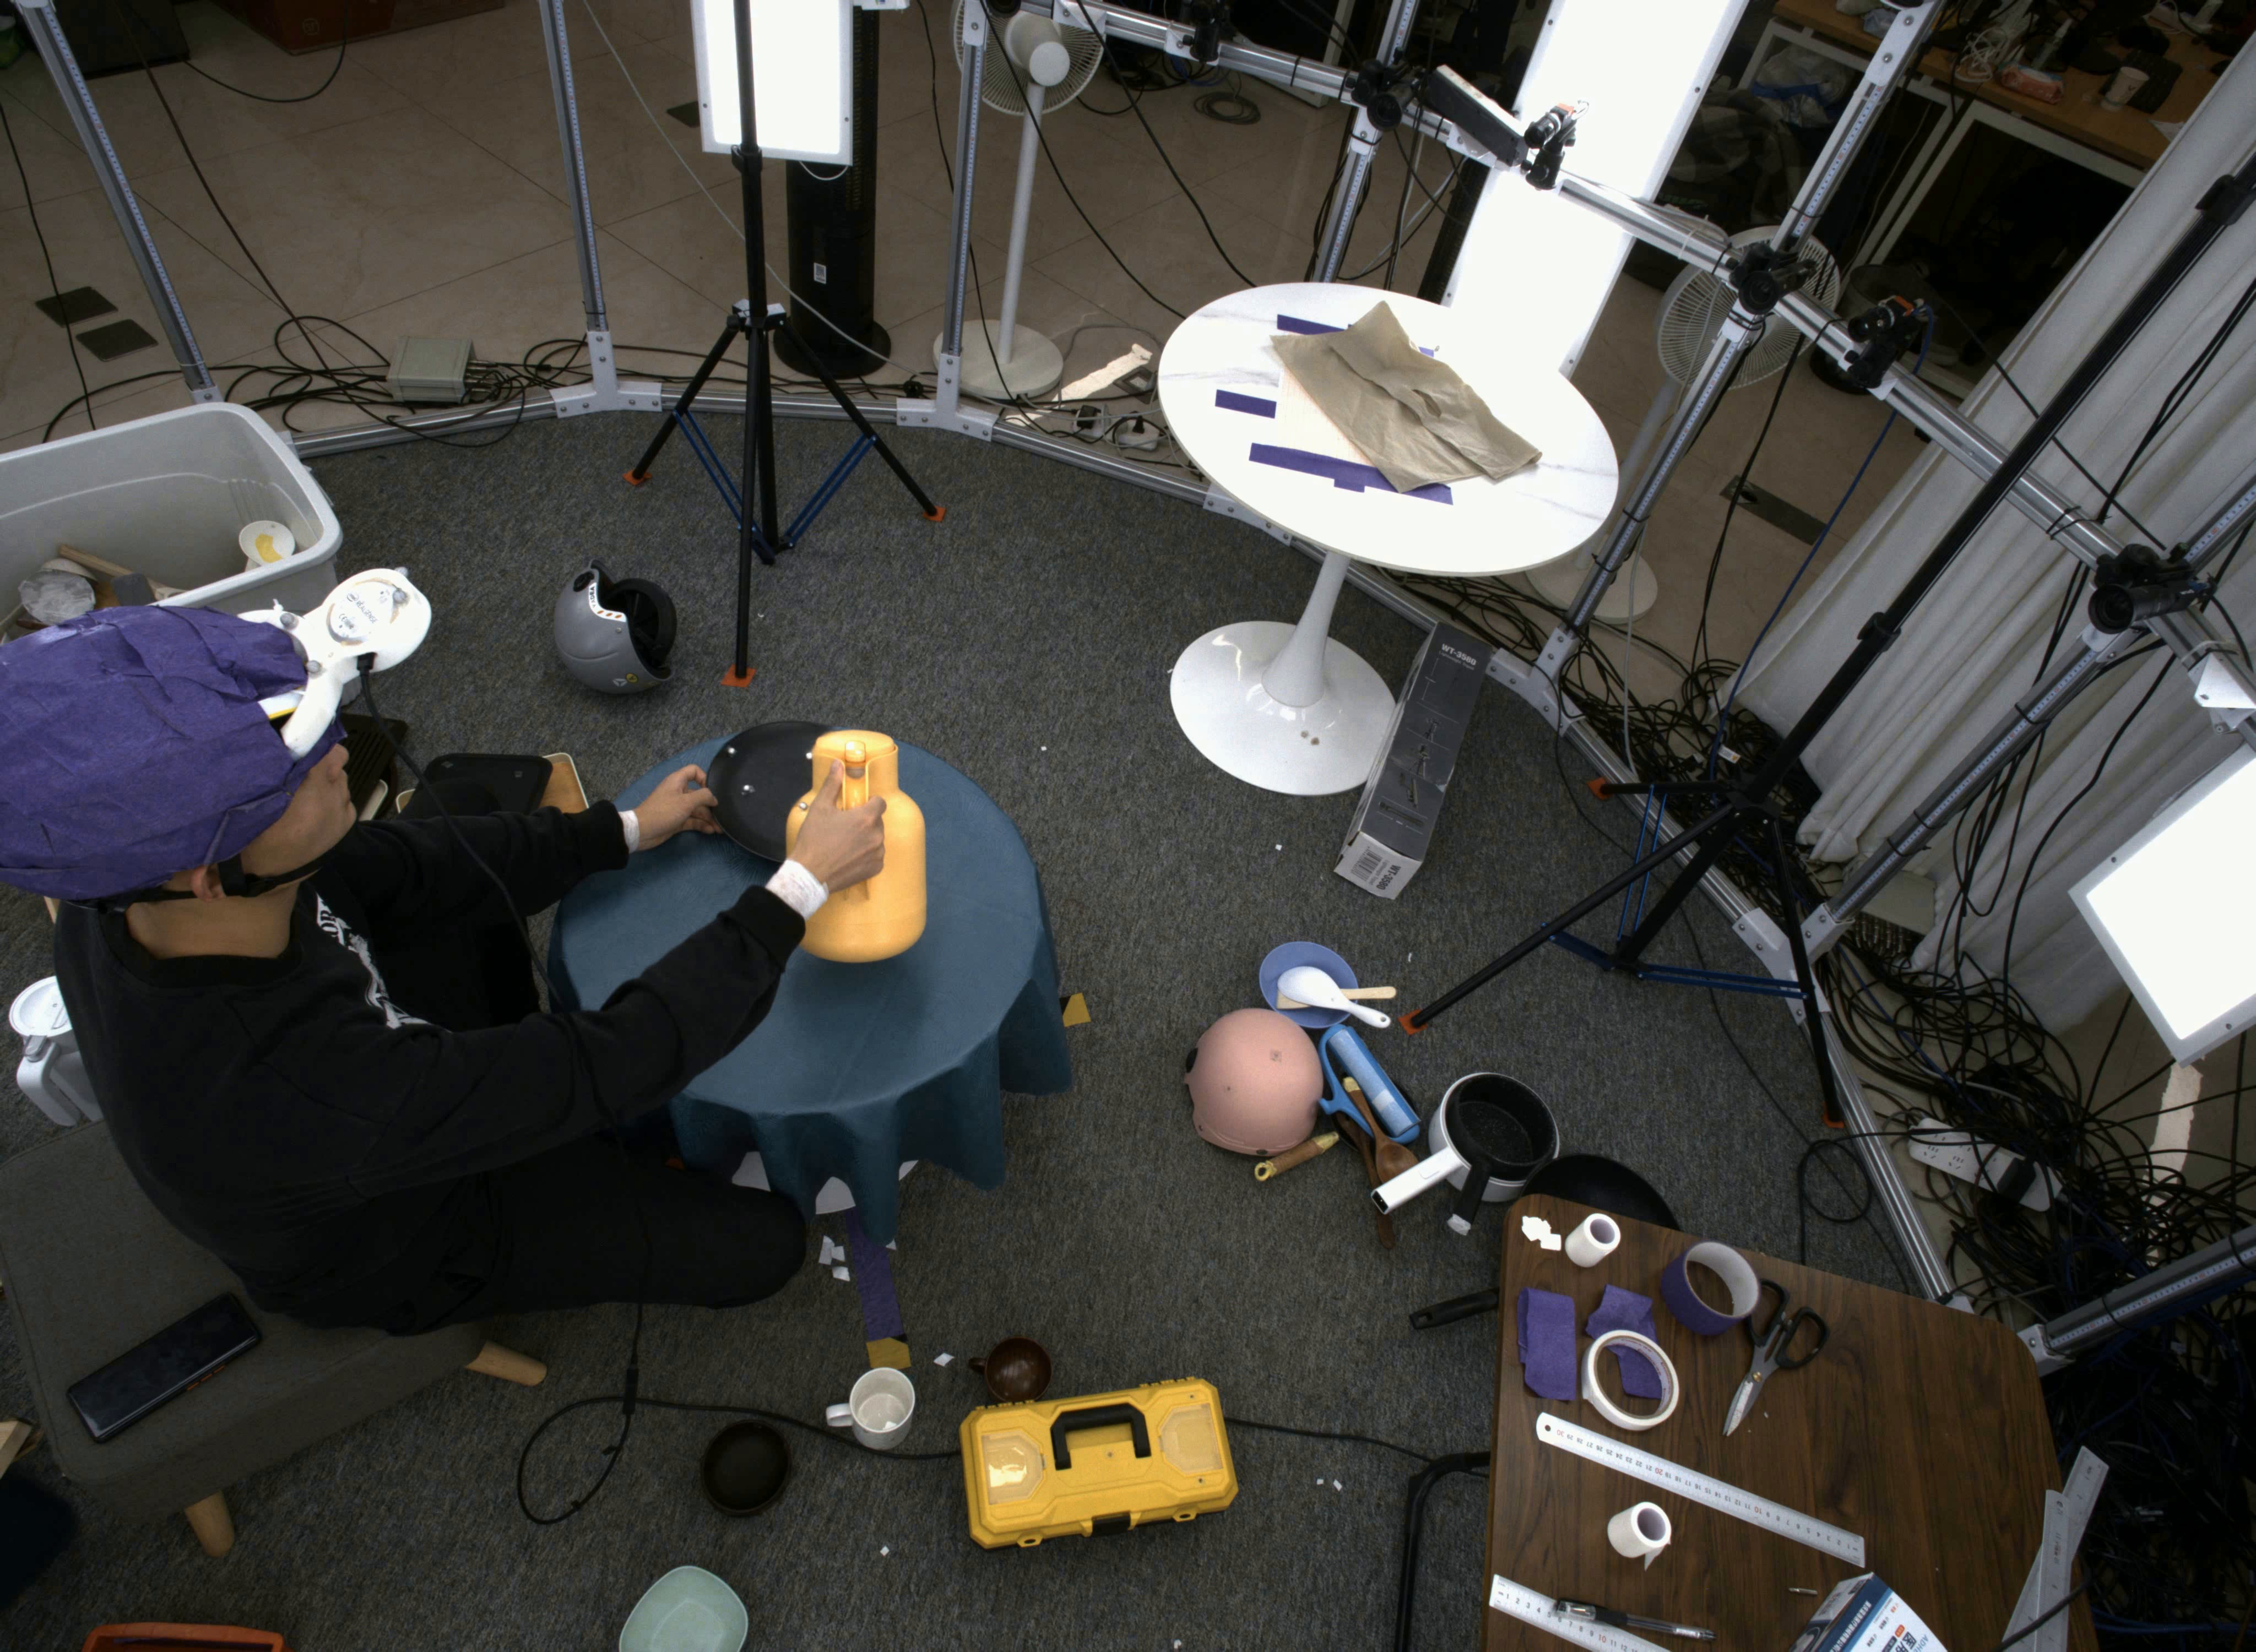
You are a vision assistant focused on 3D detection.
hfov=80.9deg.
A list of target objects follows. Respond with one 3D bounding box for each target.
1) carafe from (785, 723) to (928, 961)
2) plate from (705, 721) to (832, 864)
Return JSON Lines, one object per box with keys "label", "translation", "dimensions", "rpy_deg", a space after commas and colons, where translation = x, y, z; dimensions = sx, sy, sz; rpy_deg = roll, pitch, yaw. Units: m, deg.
{"label": "carafe", "translation": [-0.316, 0.020, 1.492], "dimensions": [0.163, 0.267, 0.197], "rpy_deg": [-3, 18, -9]}
{"label": "plate", "translation": [-0.436, -0.043, 1.722], "dimensions": [0.245, 0.024, 0.240], "rpy_deg": [12, 50, -13]}
